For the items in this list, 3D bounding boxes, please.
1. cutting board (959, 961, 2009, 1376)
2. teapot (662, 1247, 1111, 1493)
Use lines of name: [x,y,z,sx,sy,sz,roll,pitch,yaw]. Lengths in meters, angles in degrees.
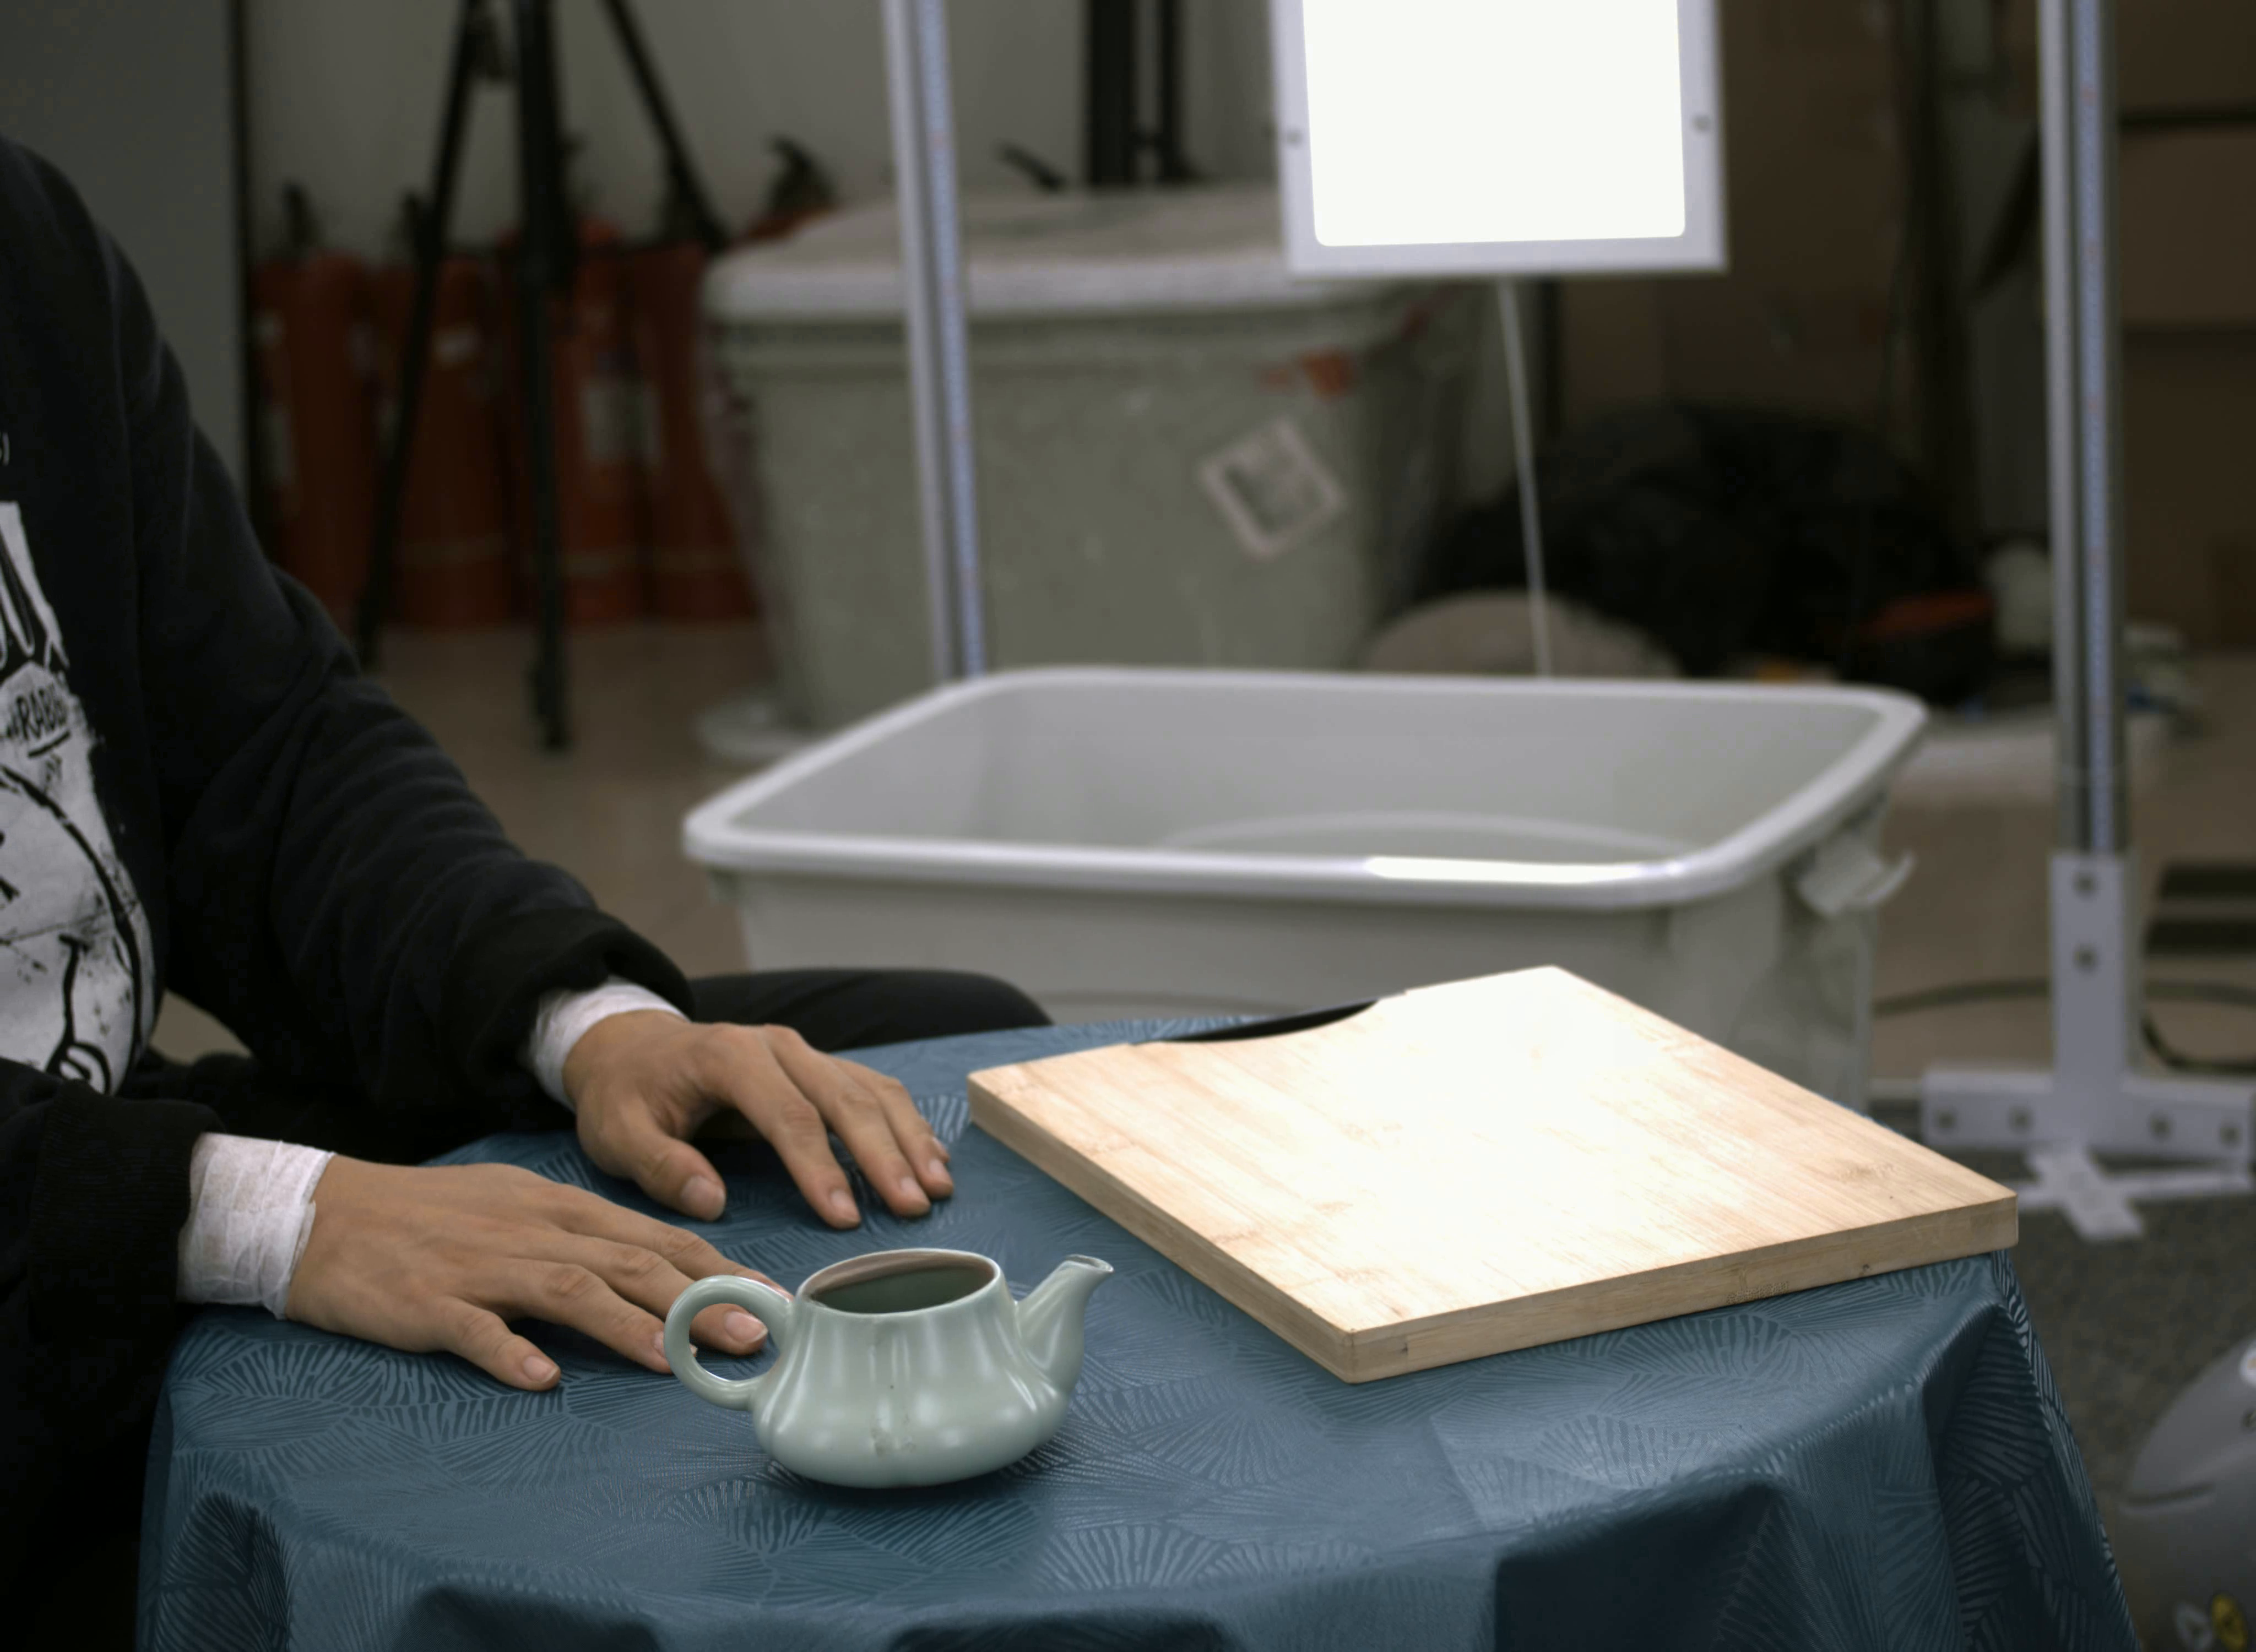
cutting board: [0.113,0.112,1.884,0.246,0.023,0.353,-10,15,-20]
teapot: [-0.071,0.162,1.654,0.137,0.061,0.096,-4,15,2]
